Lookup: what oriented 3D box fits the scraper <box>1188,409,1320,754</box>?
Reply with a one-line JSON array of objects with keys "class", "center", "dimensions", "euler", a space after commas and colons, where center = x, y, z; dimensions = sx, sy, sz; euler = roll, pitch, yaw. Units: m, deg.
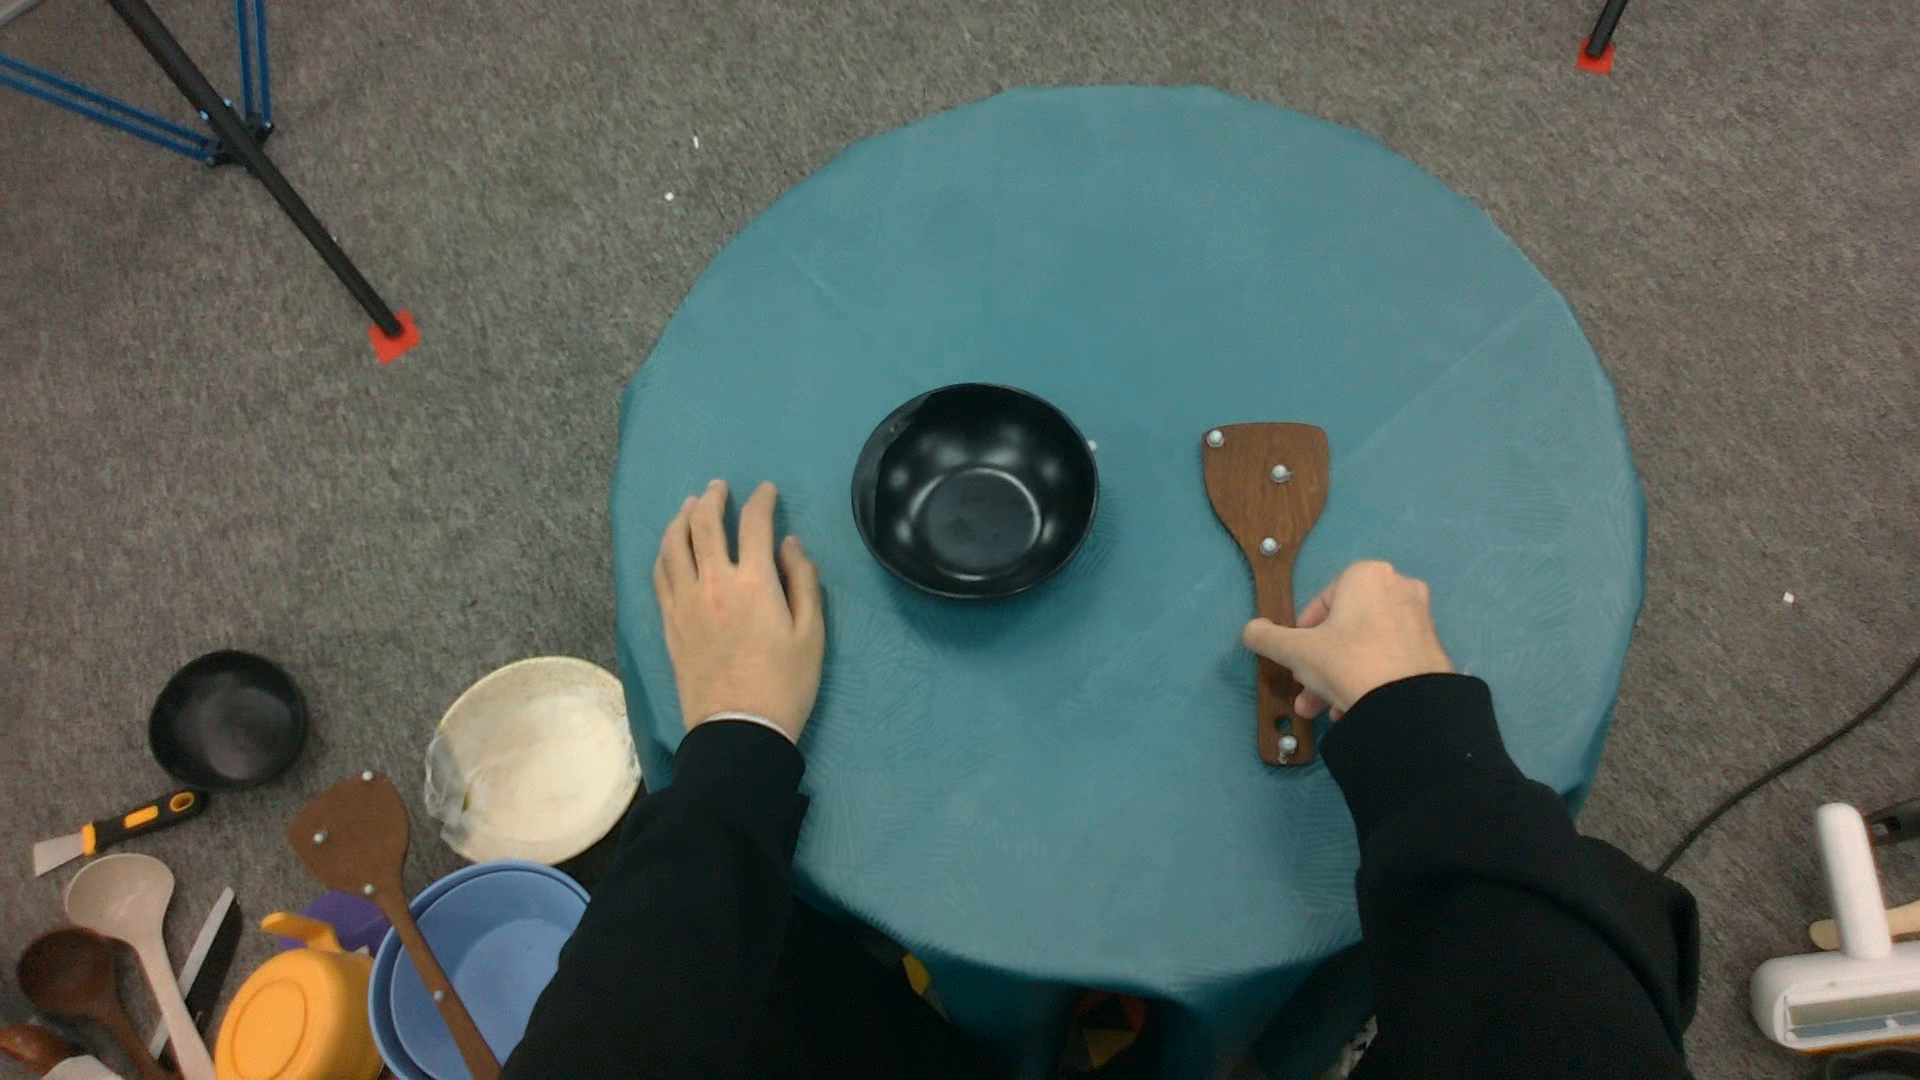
[{"class": "scraper", "center": [0.168, 0.018, 0.766], "dimensions": [0.076, 0.011, 0.212], "euler": [0, 62, 4]}]

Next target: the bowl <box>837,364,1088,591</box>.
[{"class": "bowl", "center": [0.001, -0.029, 0.779], "dimensions": [0.140, 0.049, 0.140], "euler": [0, 65, 0]}]
